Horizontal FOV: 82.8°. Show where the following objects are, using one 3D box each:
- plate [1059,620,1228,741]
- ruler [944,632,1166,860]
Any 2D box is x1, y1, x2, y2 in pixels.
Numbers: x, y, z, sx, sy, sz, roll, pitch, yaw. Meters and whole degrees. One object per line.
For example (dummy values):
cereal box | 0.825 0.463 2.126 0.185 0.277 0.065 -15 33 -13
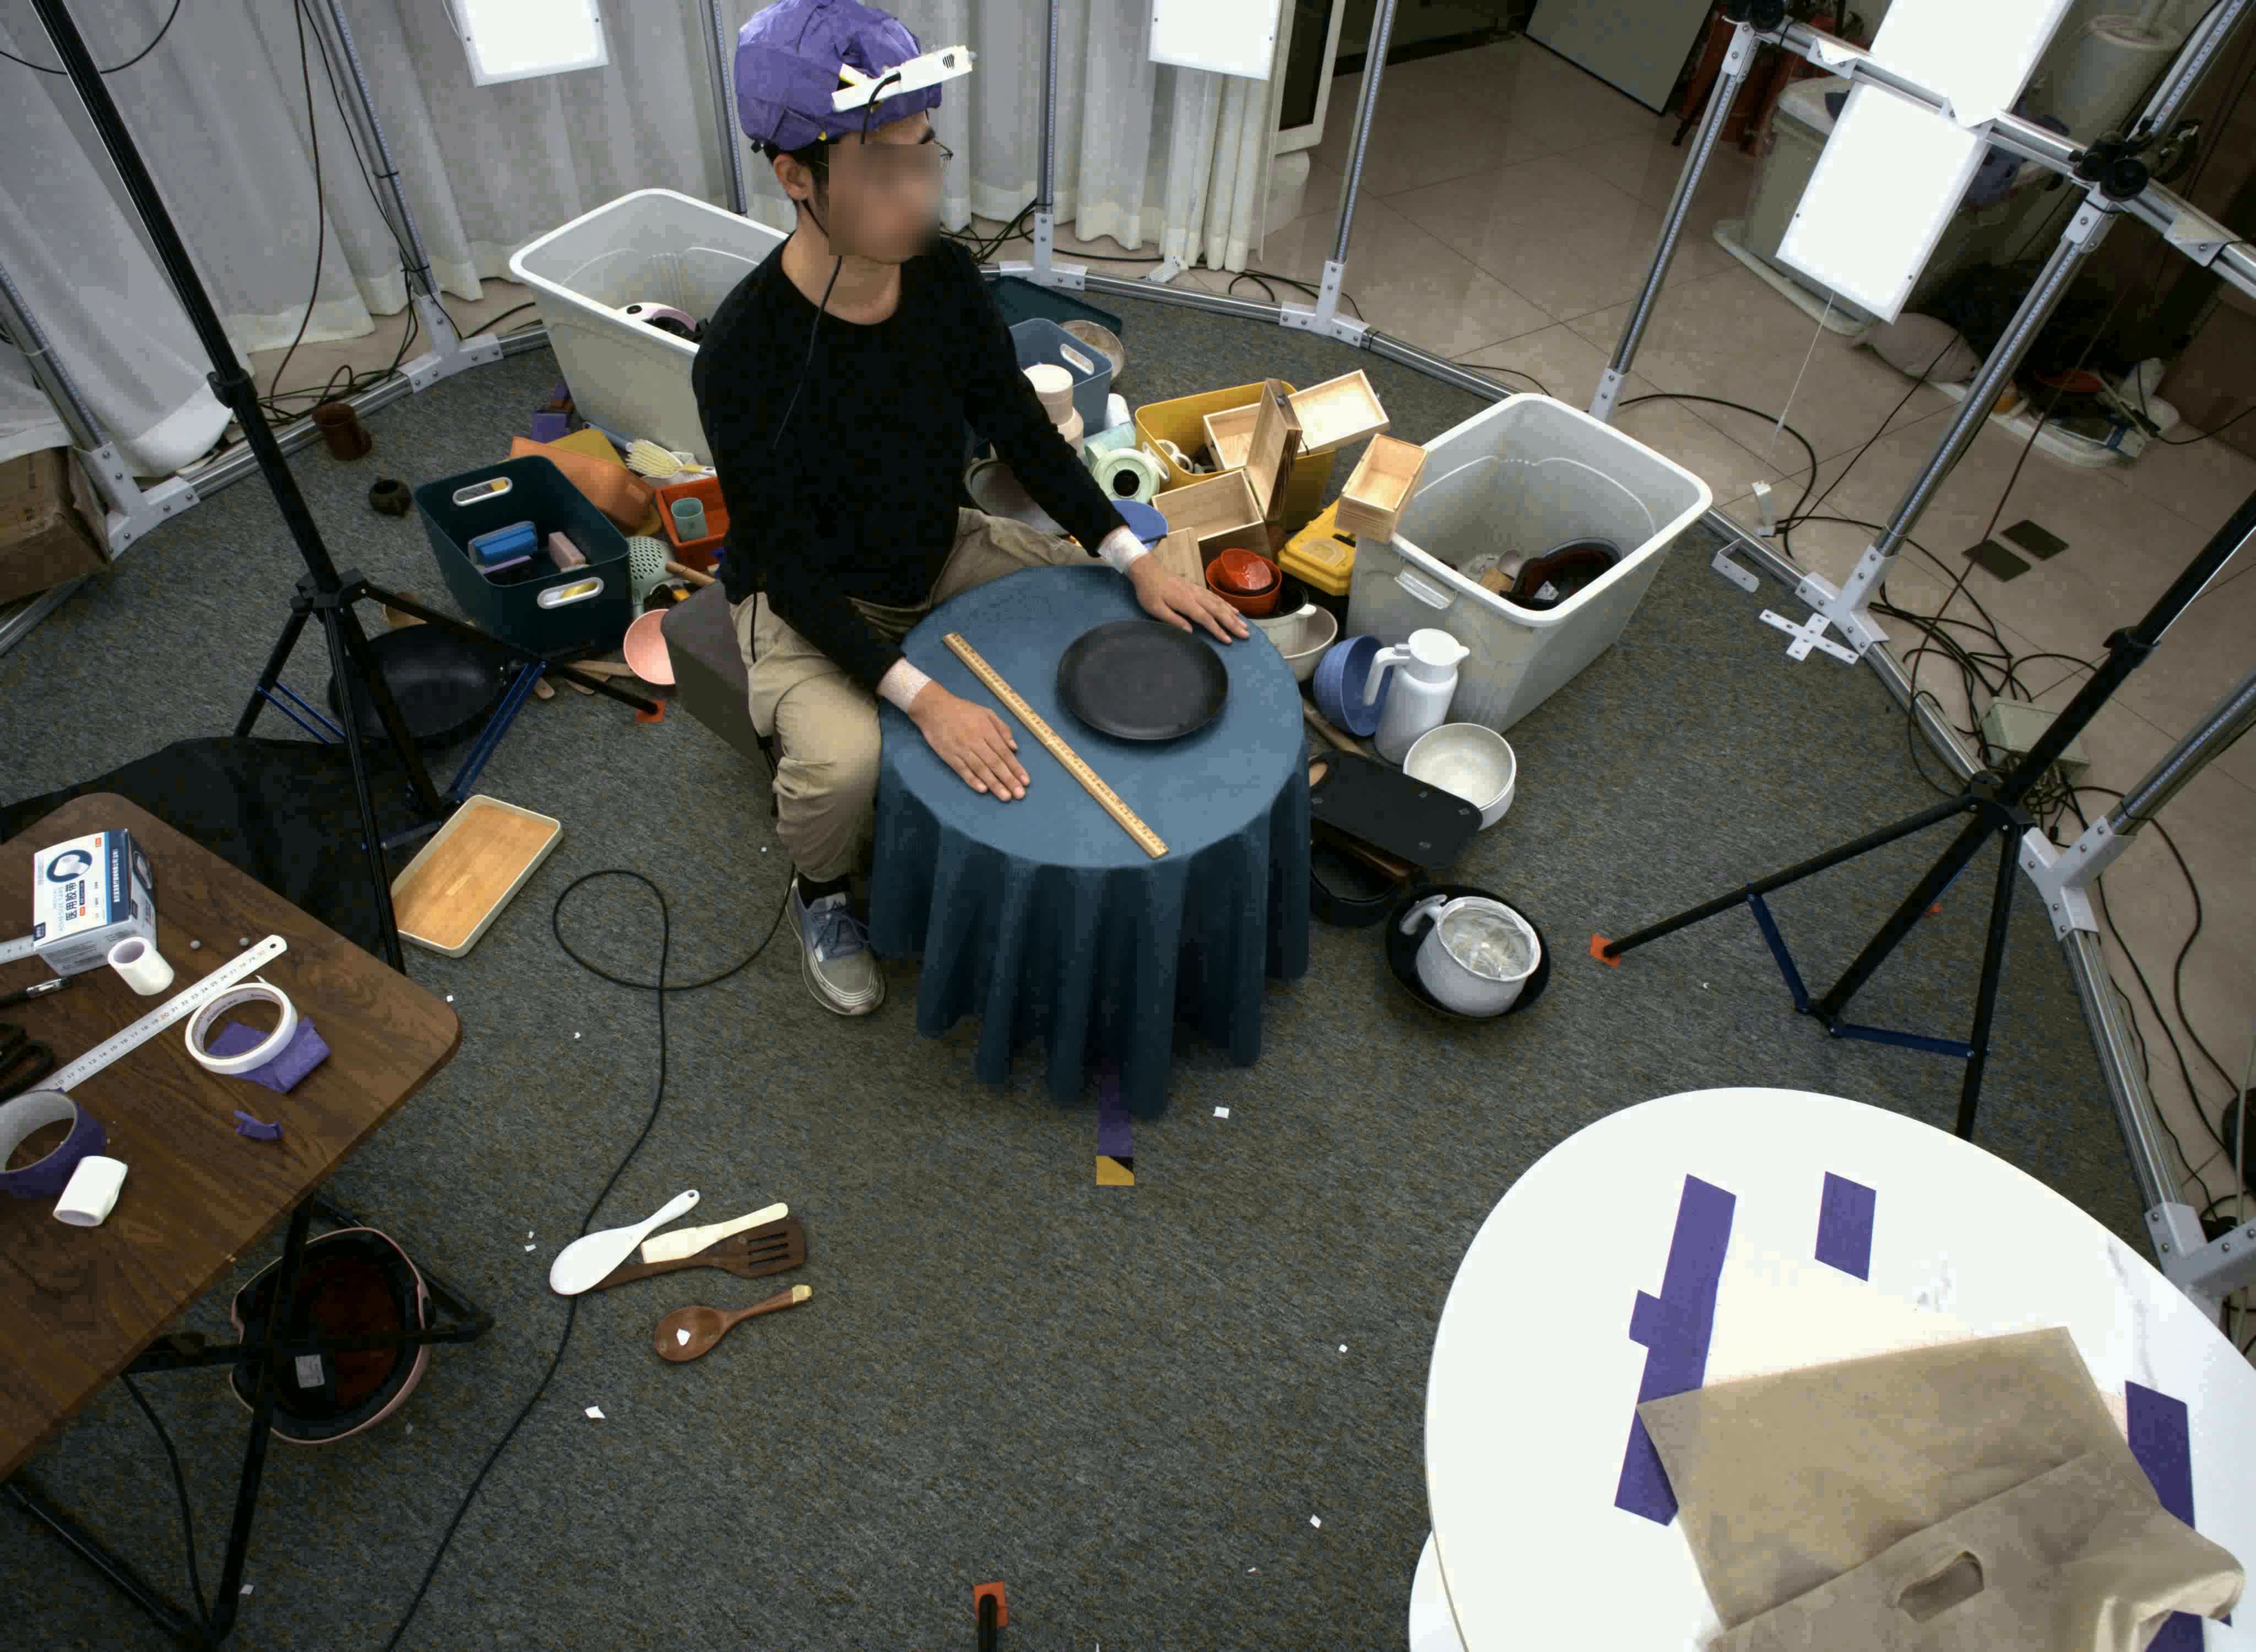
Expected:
plate | 0.022 -0.206 1.835 0.244 0.023 0.250 2 49 -2
ruler | -0.109 -0.122 1.765 0.027 0.006 0.510 -26 56 -26
